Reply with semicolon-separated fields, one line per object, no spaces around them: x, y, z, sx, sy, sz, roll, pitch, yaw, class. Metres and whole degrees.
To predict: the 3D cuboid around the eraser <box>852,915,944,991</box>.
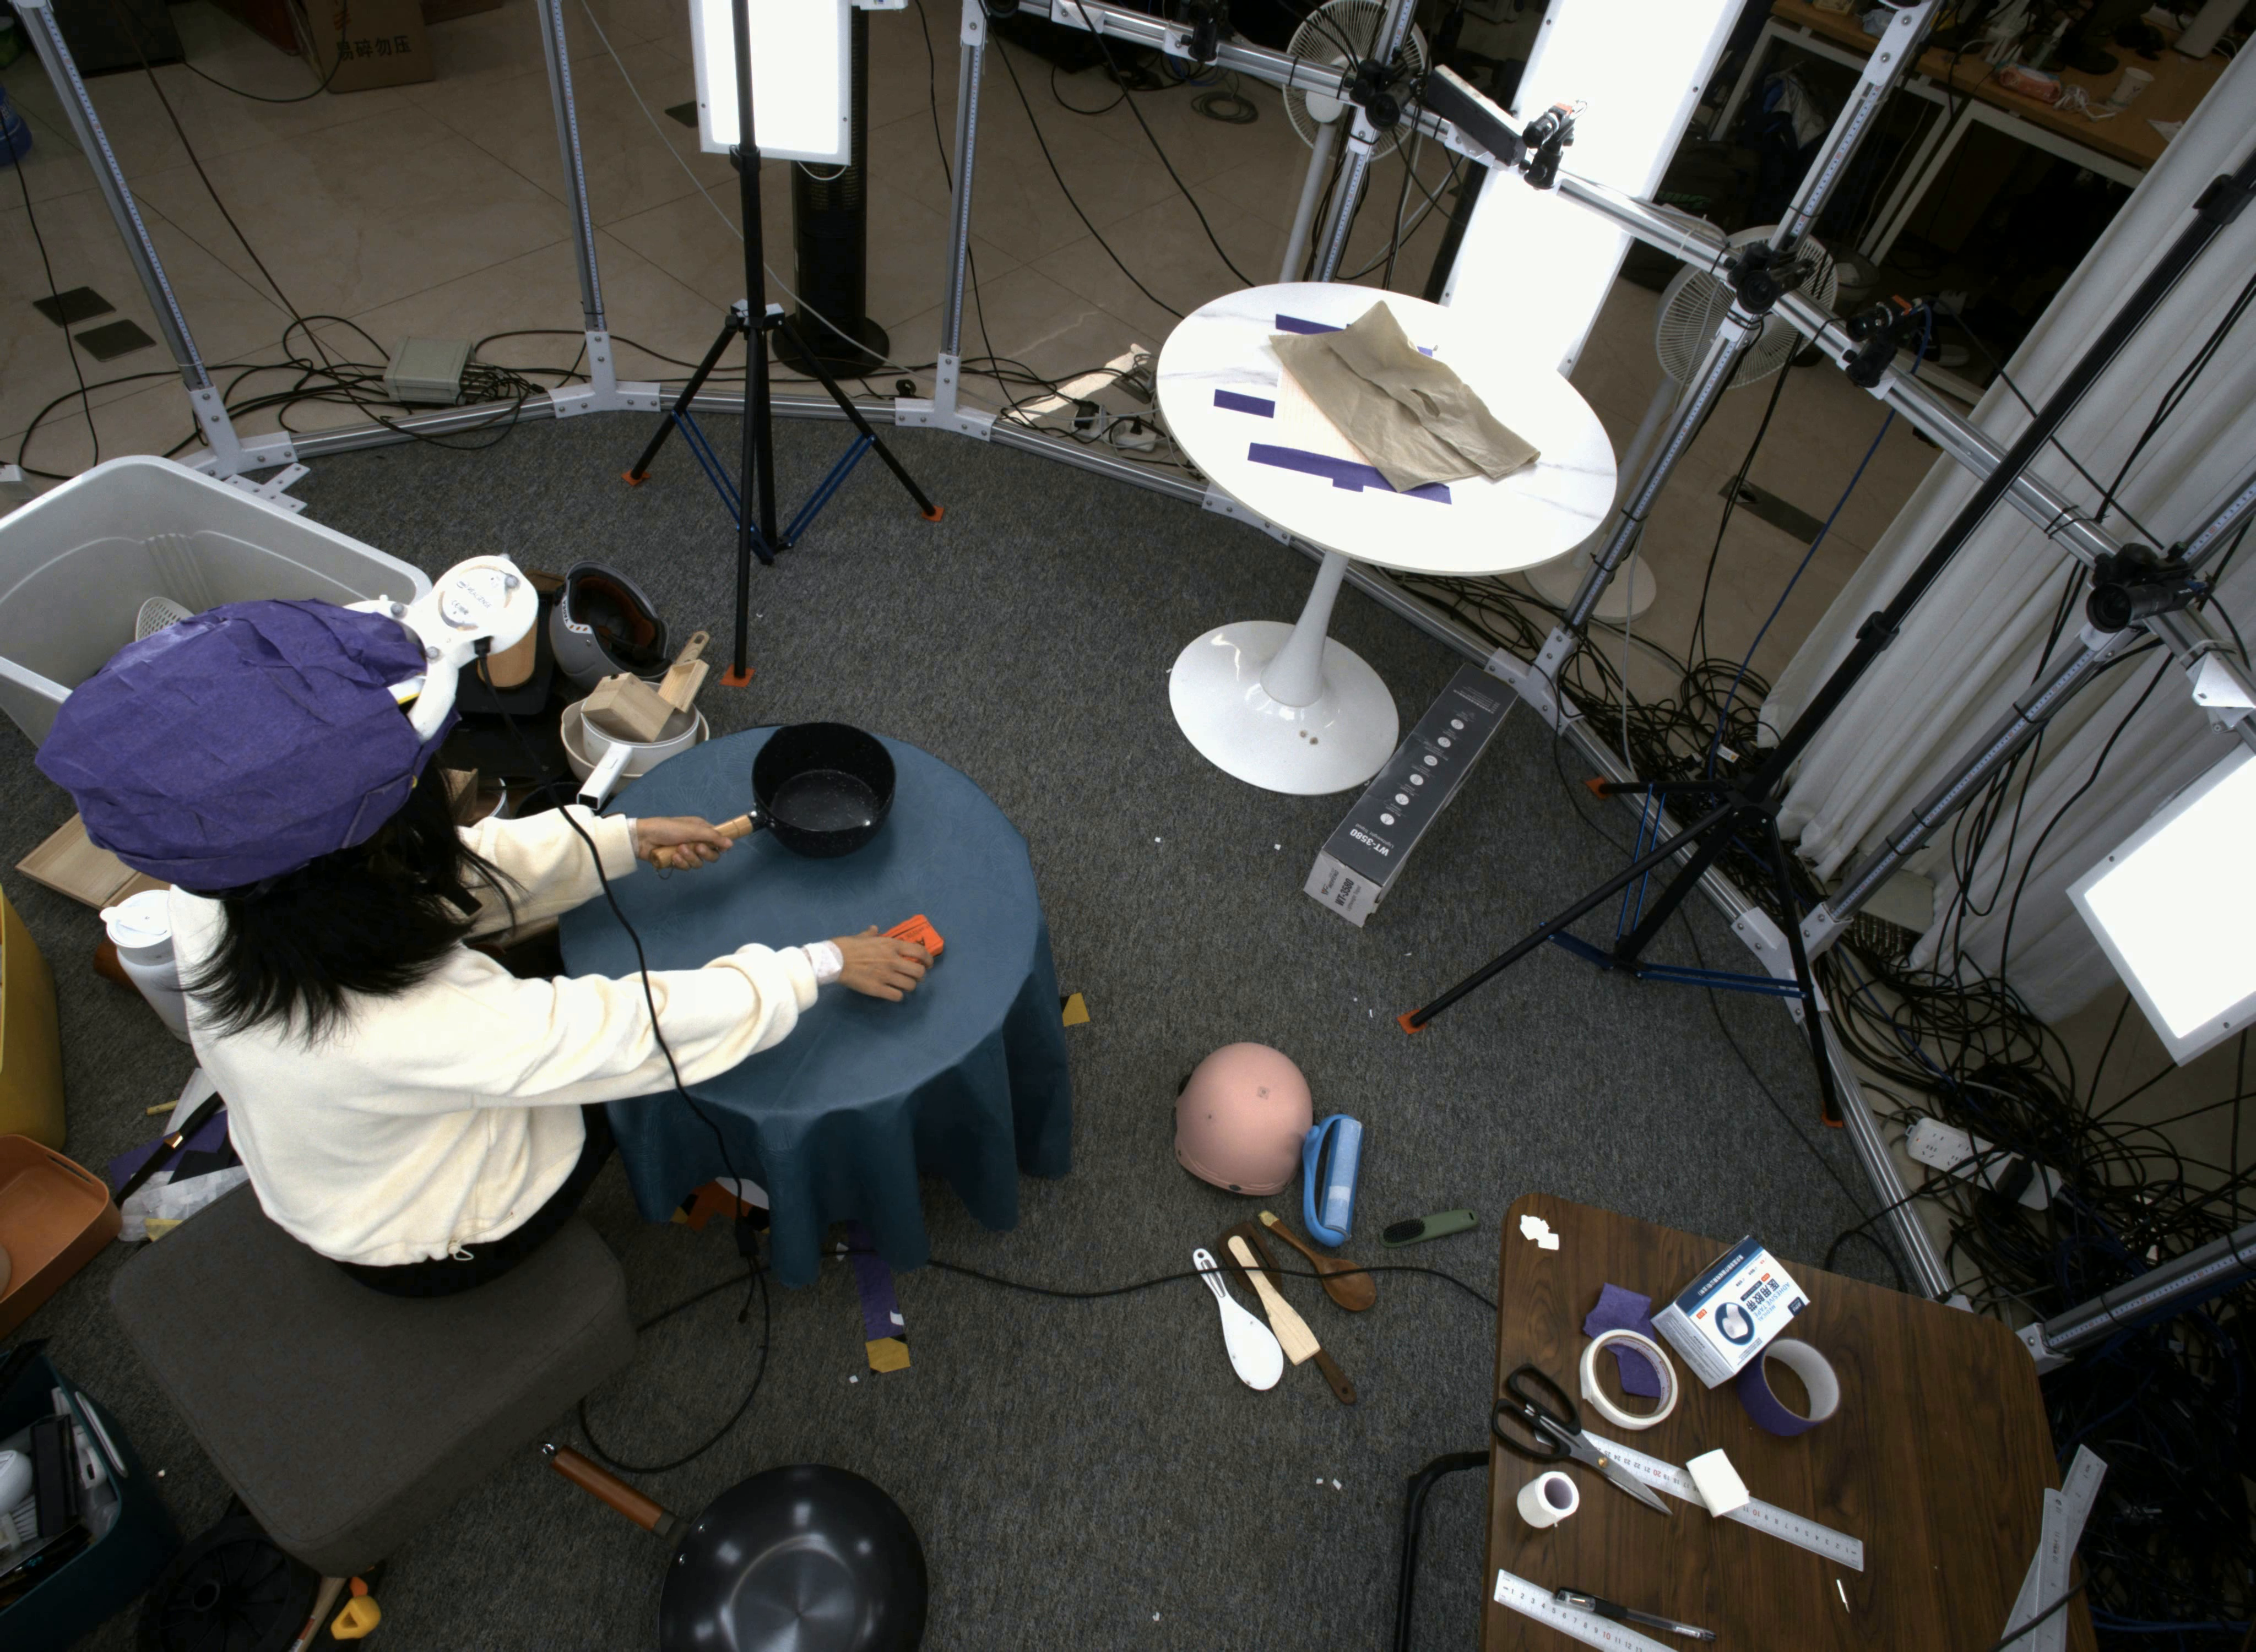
-0.287;0.156;1.624;0.108;0.023;0.057;-29;67;-31;eraser

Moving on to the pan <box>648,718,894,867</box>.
-0.454;-0.012;1.650;0.203;0.110;0.344;42;53;17;pan
